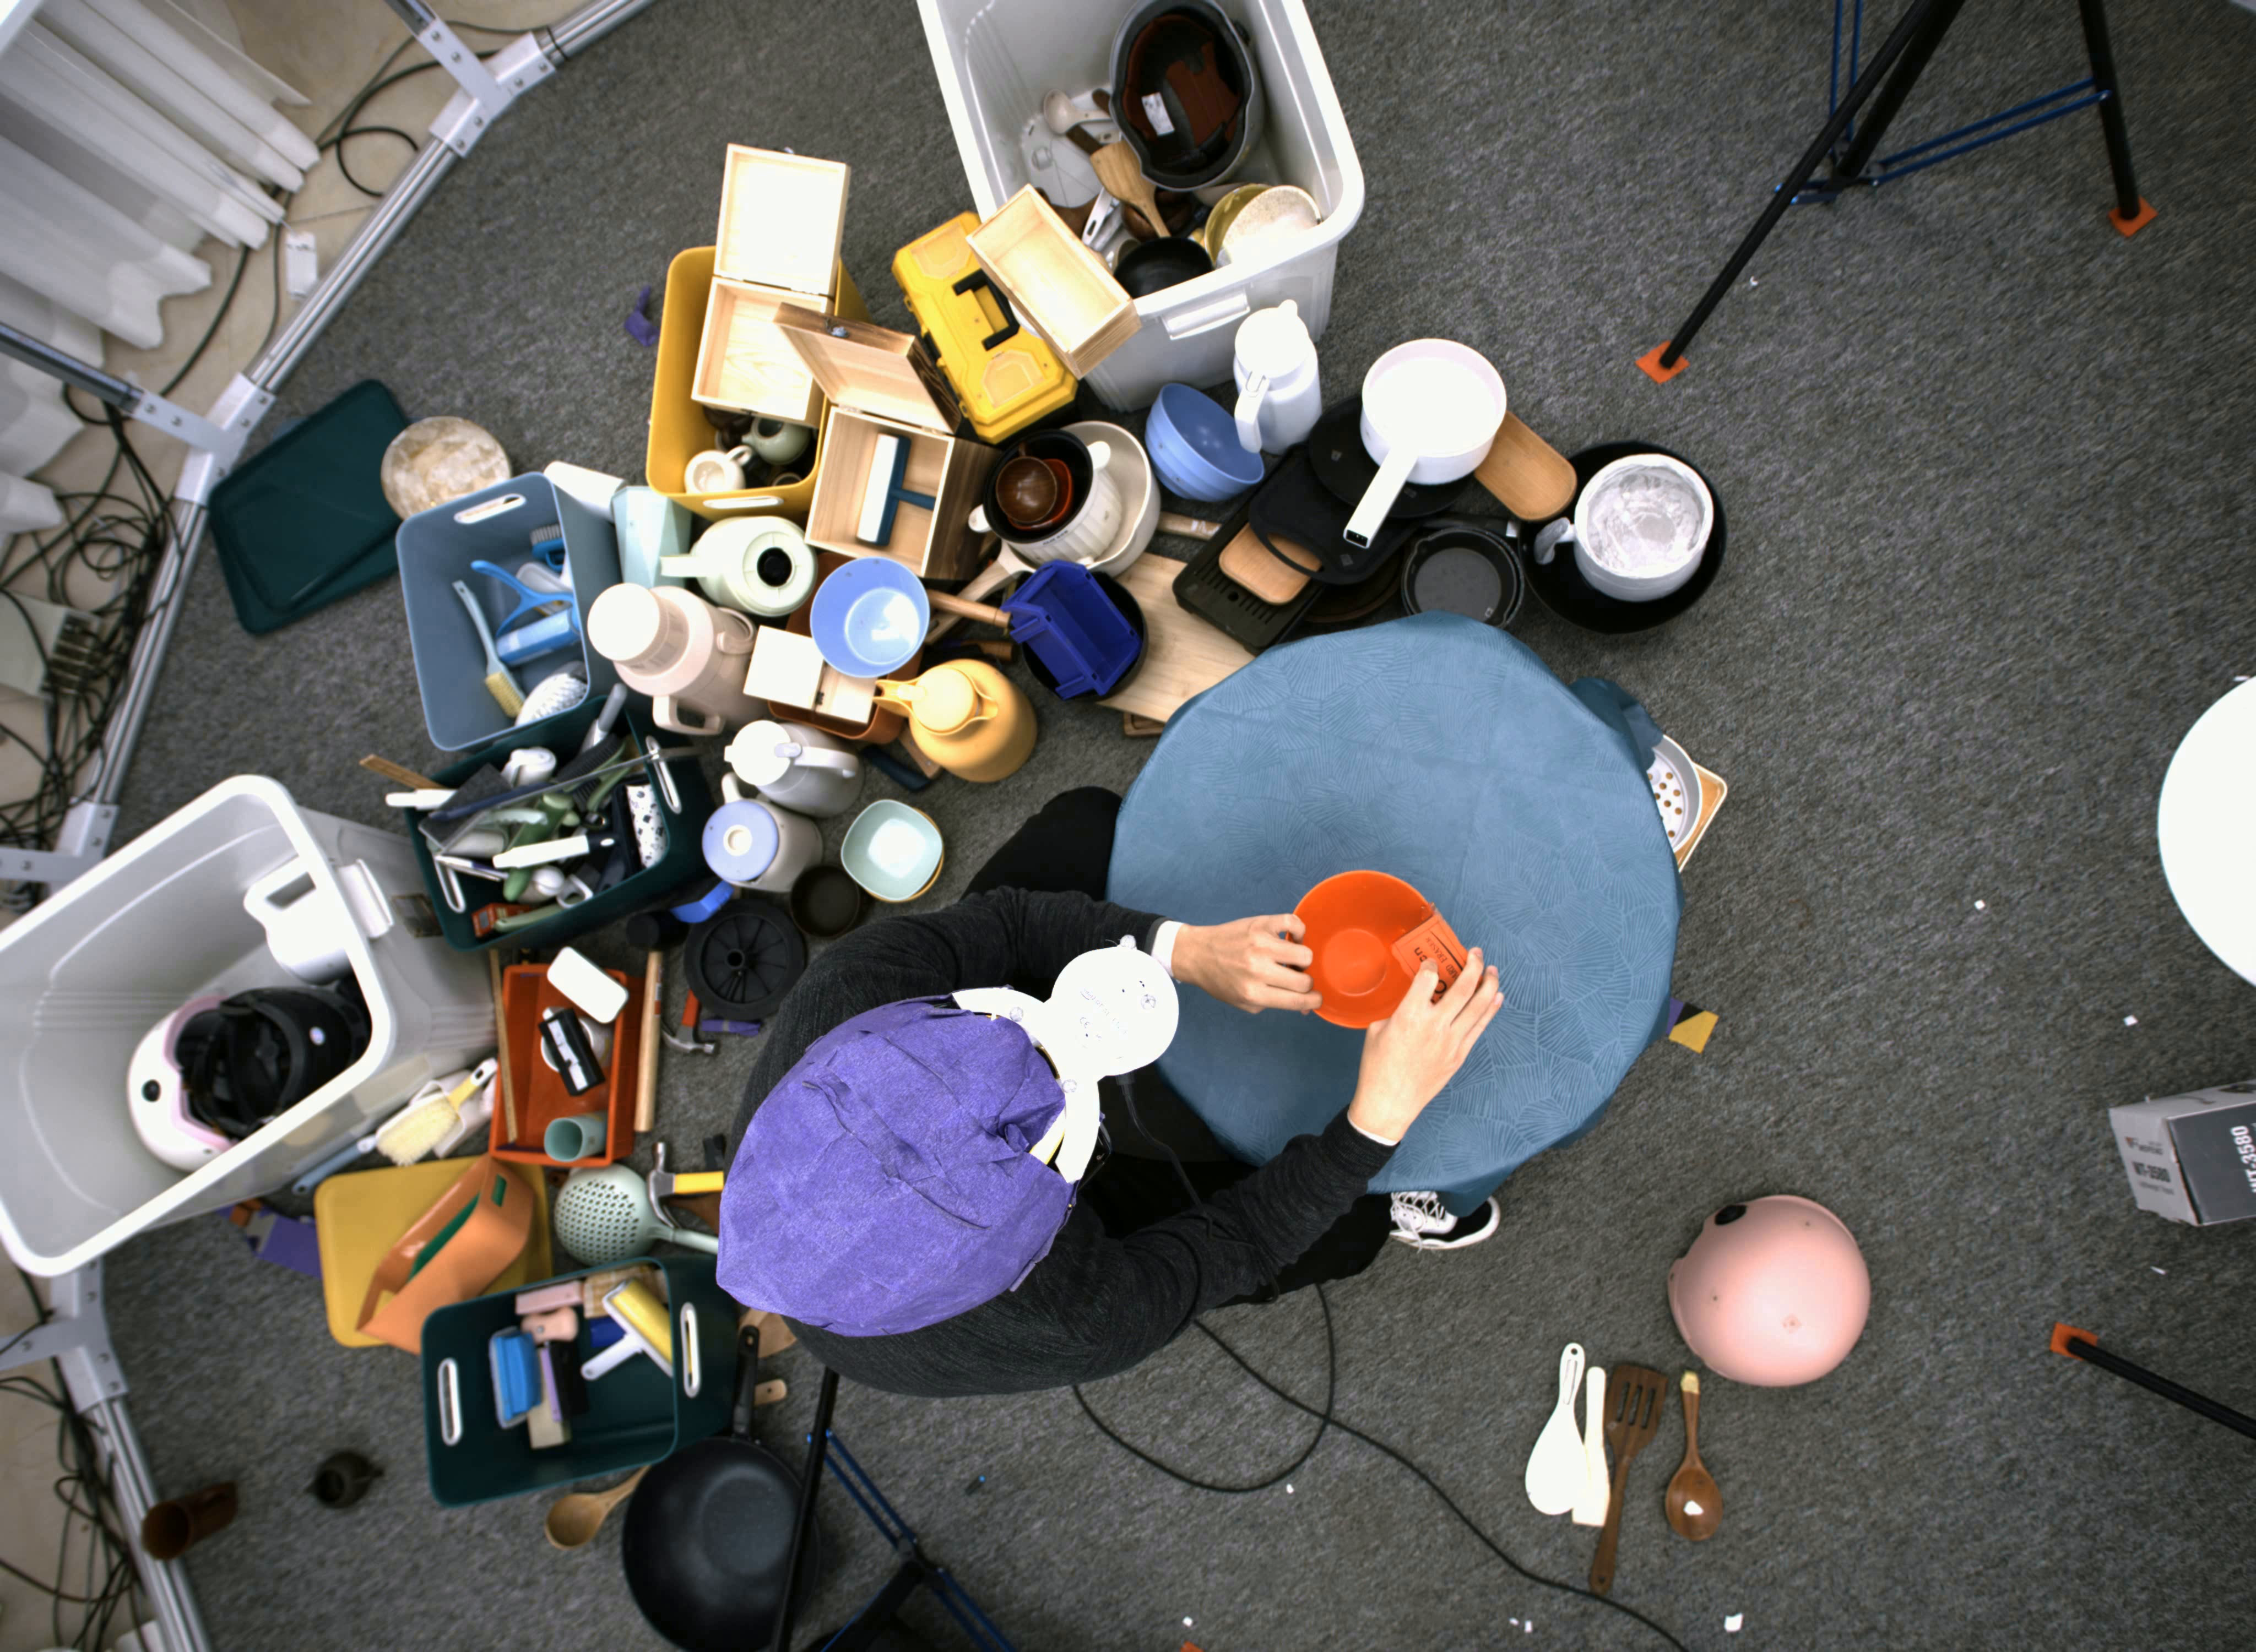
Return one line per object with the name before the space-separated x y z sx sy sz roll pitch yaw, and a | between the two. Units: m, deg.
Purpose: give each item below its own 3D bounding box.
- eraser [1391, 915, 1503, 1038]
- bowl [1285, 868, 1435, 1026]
eraser | 0.295 0.138 1.279 0.059 0.023 0.108 -36 86 11
bowl | 0.222 0.117 1.337 0.148 0.105 0.147 0 86 2
